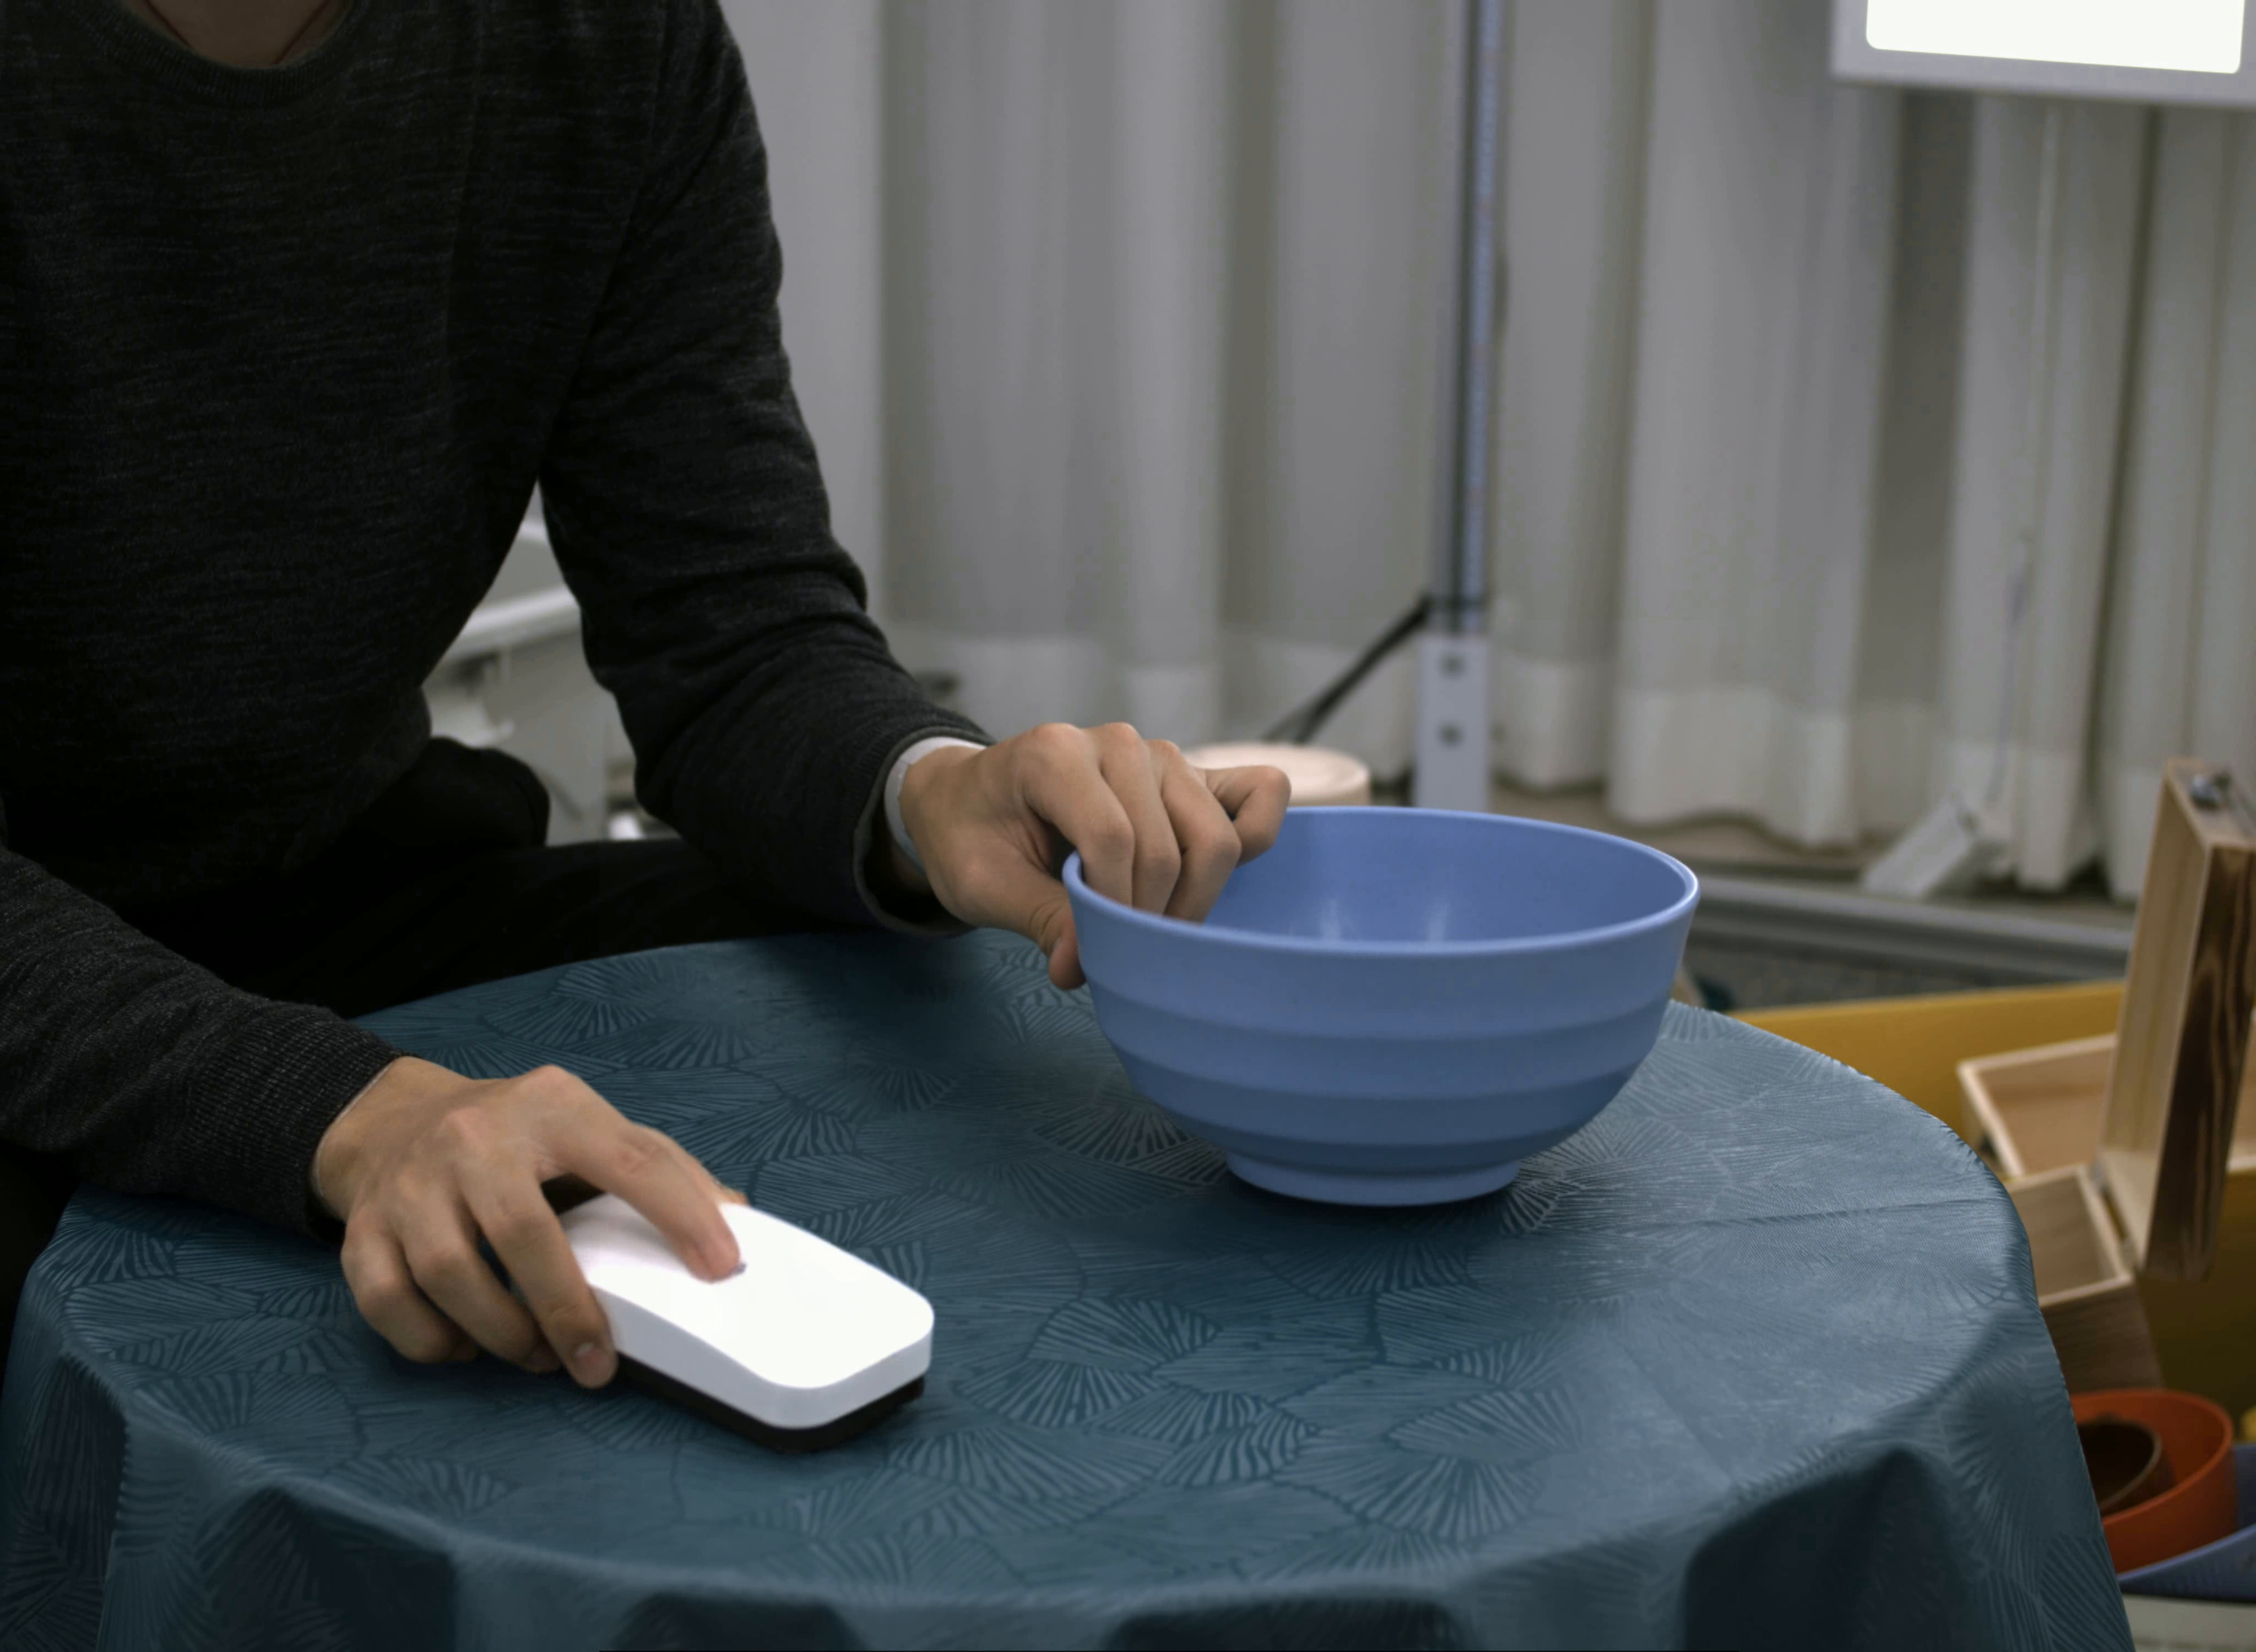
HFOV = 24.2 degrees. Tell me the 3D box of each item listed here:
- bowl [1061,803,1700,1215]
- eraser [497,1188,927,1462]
[{"bbox_3d":[0.076,0.061,1.626,0.196,0.096,0.195,1,14,0],"label":"bowl"},{"bbox_3d":[-0.115,0.134,1.461,0.129,0.035,0.063,22,30,40],"label":"eraser"}]
